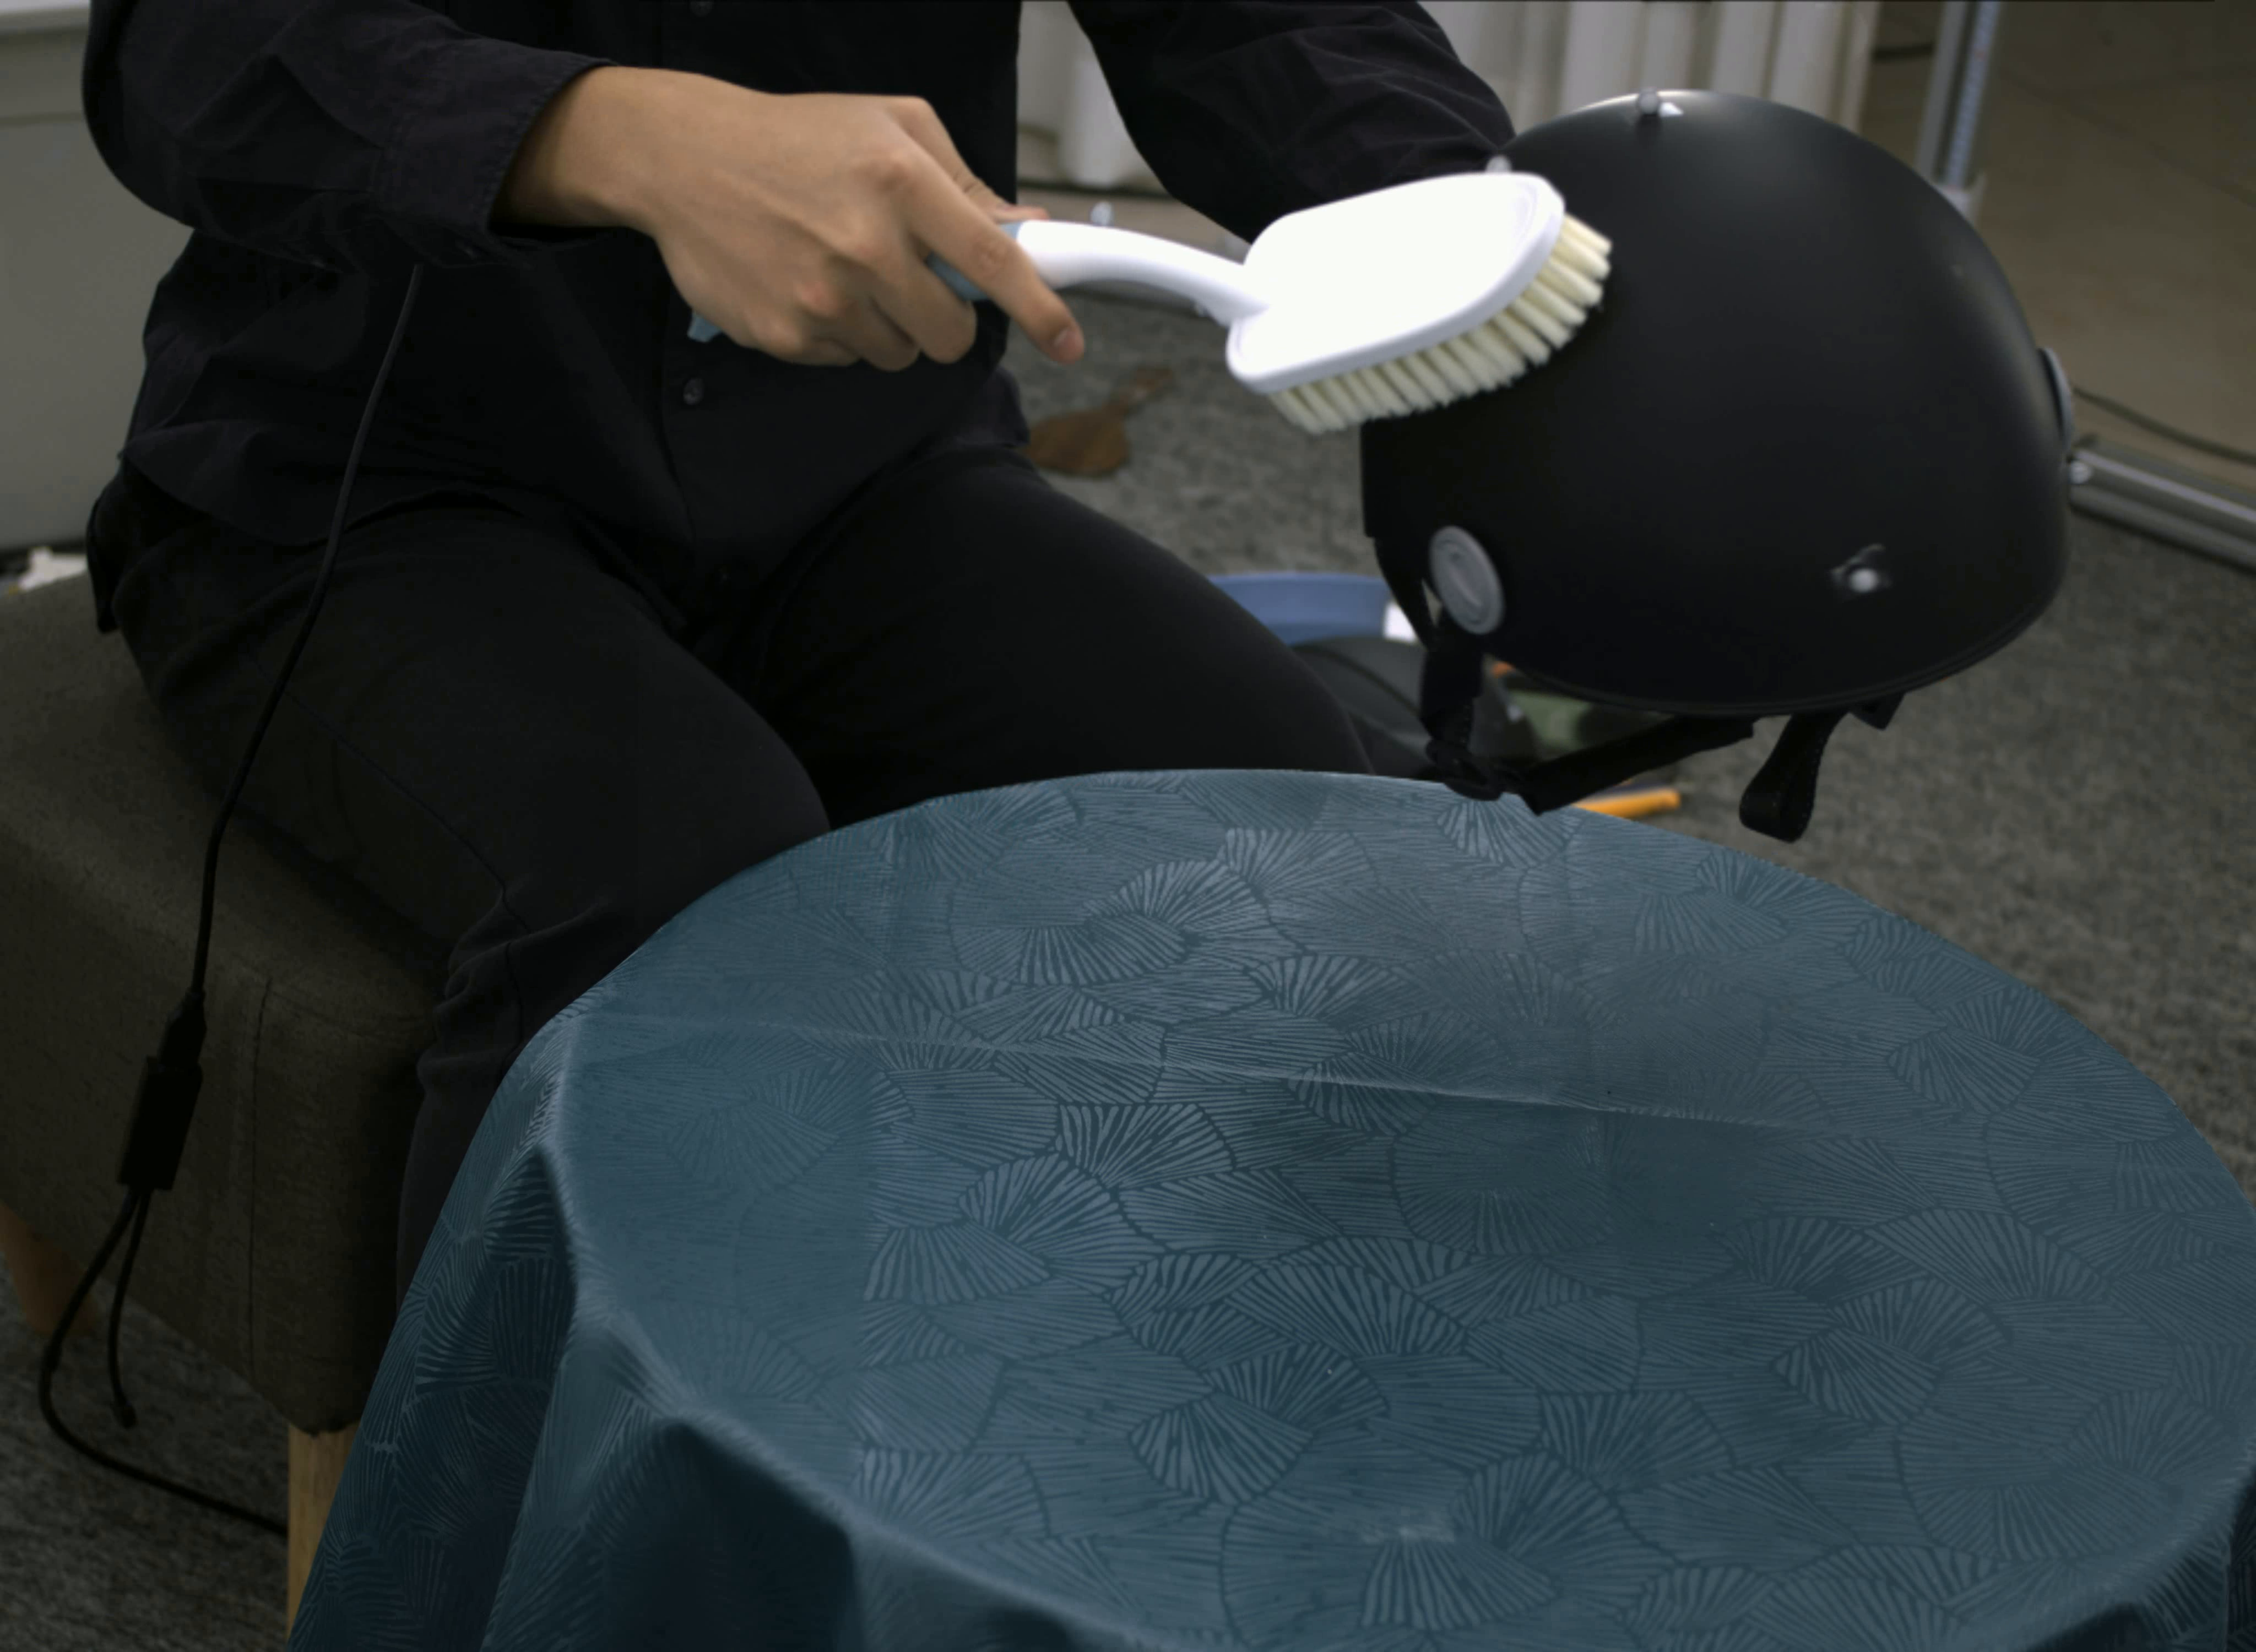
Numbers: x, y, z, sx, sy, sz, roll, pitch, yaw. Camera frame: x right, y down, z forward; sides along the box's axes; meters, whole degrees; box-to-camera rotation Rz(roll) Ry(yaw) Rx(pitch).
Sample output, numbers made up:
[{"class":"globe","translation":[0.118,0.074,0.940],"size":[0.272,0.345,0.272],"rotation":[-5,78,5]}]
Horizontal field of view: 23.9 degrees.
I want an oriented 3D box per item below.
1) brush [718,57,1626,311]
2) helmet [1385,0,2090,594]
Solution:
[{"class":"brush","translation":[0.016,-0.212,1.797],"size":[0.326,0.084,0.083],"rotation":[-3,24,26]},{"class":"helmet","translation":[0.201,-0.195,1.811],"size":[0.229,0.166,0.275],"rotation":[-17,26,-11]}]
